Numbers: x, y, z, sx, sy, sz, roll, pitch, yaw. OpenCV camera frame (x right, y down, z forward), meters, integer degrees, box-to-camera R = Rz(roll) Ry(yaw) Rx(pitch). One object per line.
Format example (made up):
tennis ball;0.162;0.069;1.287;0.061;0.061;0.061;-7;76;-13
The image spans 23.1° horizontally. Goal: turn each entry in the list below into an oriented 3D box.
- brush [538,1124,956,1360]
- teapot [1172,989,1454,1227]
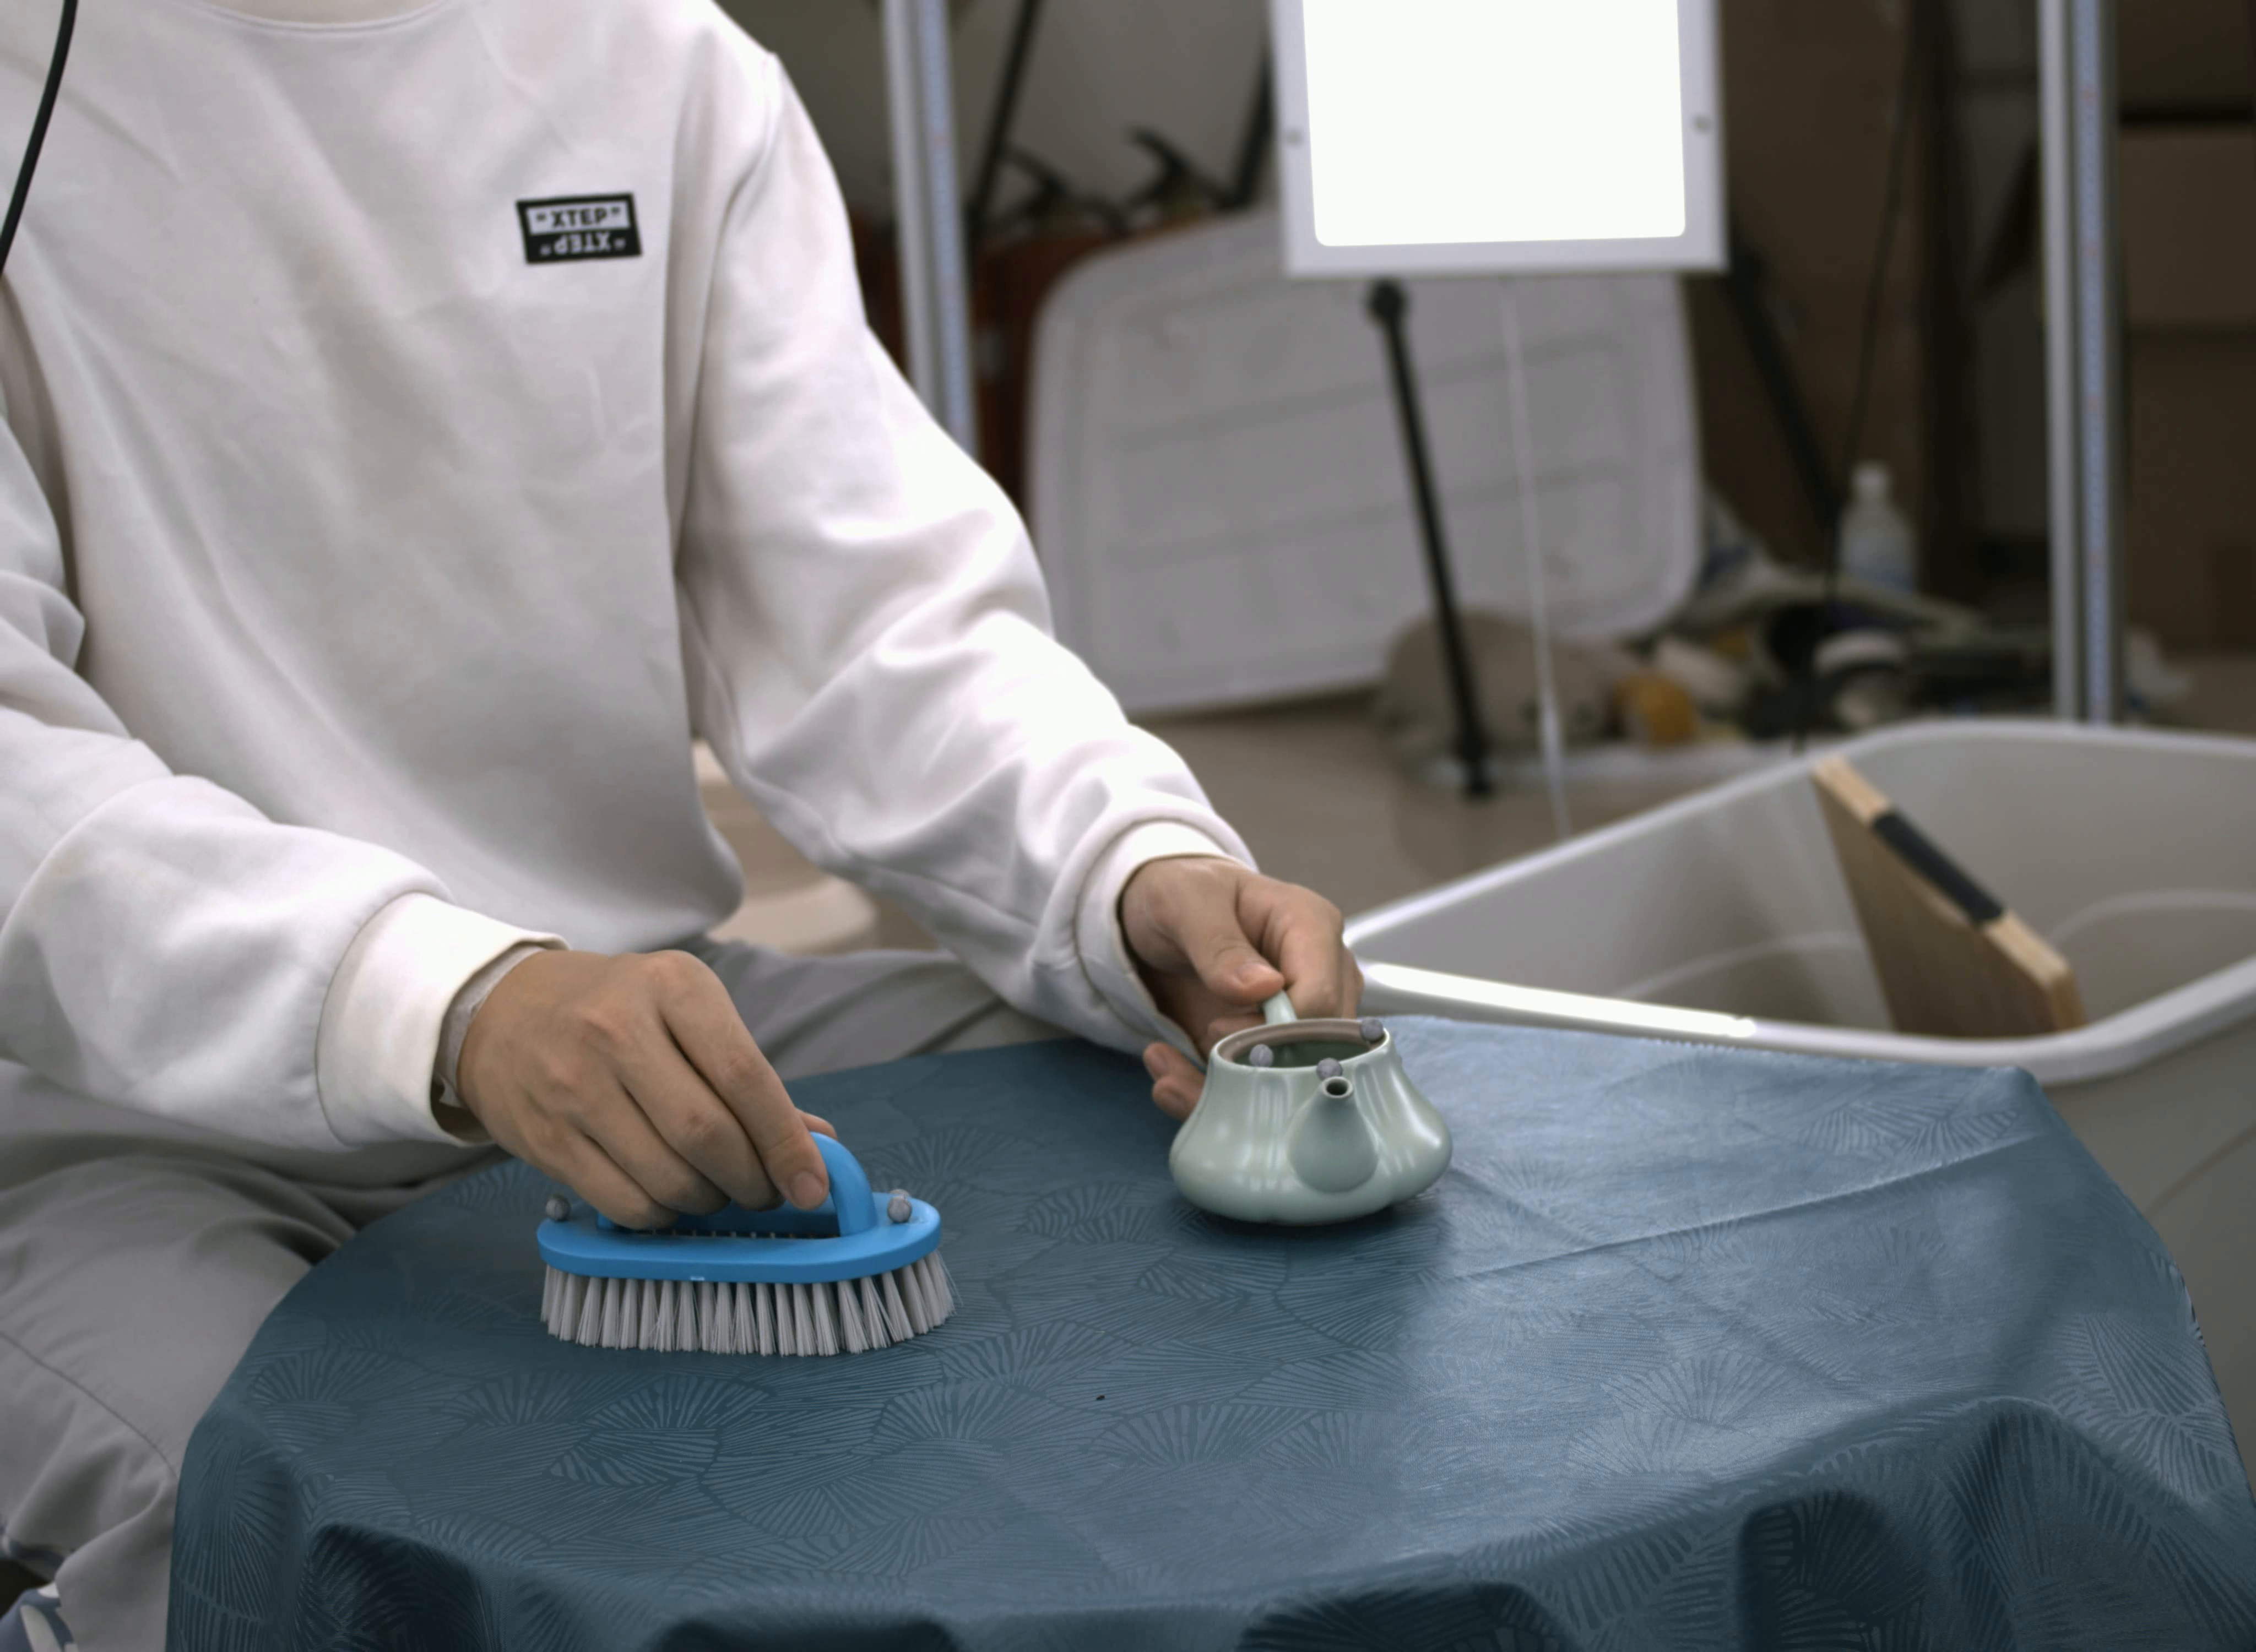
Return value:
brush;-0.128;0.129;1.799;0.144;0.064;0.083;0;19;23
teapot;0.061;0.098;1.868;0.095;0.061;0.138;-10;15;-9
